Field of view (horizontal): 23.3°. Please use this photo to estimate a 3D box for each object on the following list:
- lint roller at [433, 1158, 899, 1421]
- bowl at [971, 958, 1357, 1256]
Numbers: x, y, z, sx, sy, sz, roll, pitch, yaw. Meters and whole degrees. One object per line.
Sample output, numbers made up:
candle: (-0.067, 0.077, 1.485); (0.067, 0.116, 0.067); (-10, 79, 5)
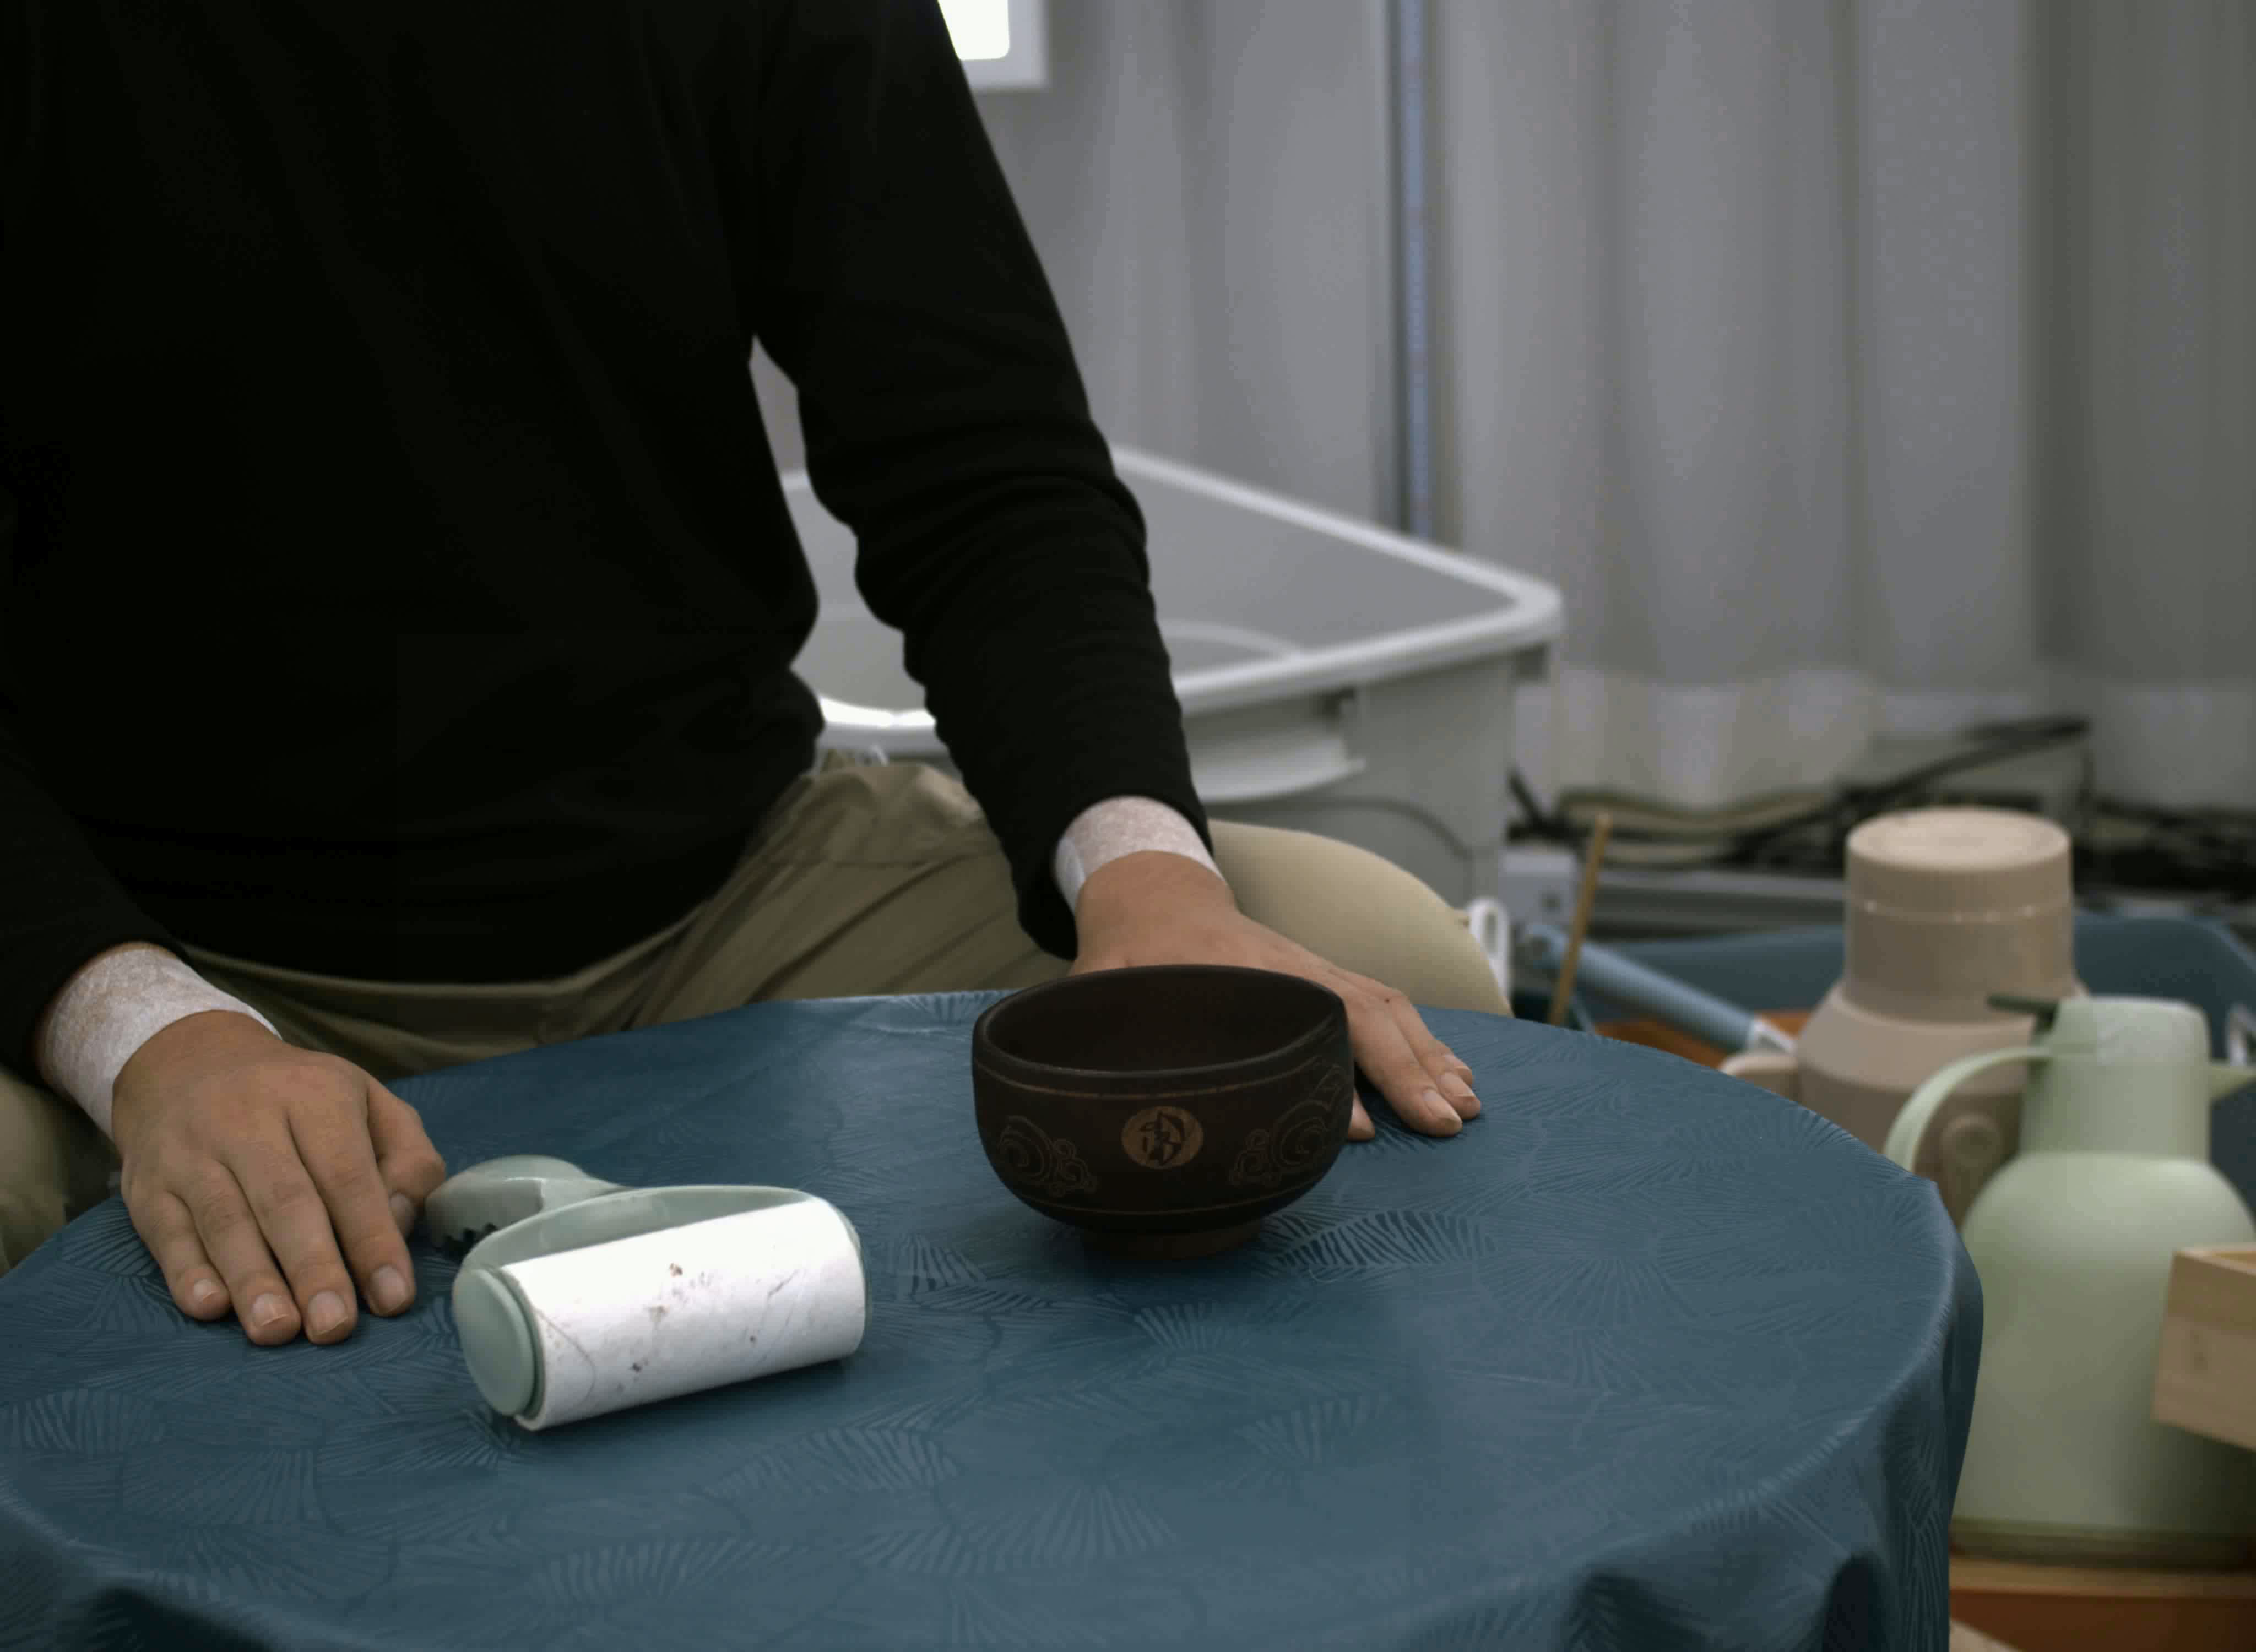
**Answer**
lint roller: (-0.158, 0.124, 1.624); (0.116, 0.048, 0.199); (-12, 16, -28)
bowl: (0.012, 0.090, 1.667); (0.117, 0.069, 0.119); (-4, 14, 1)
